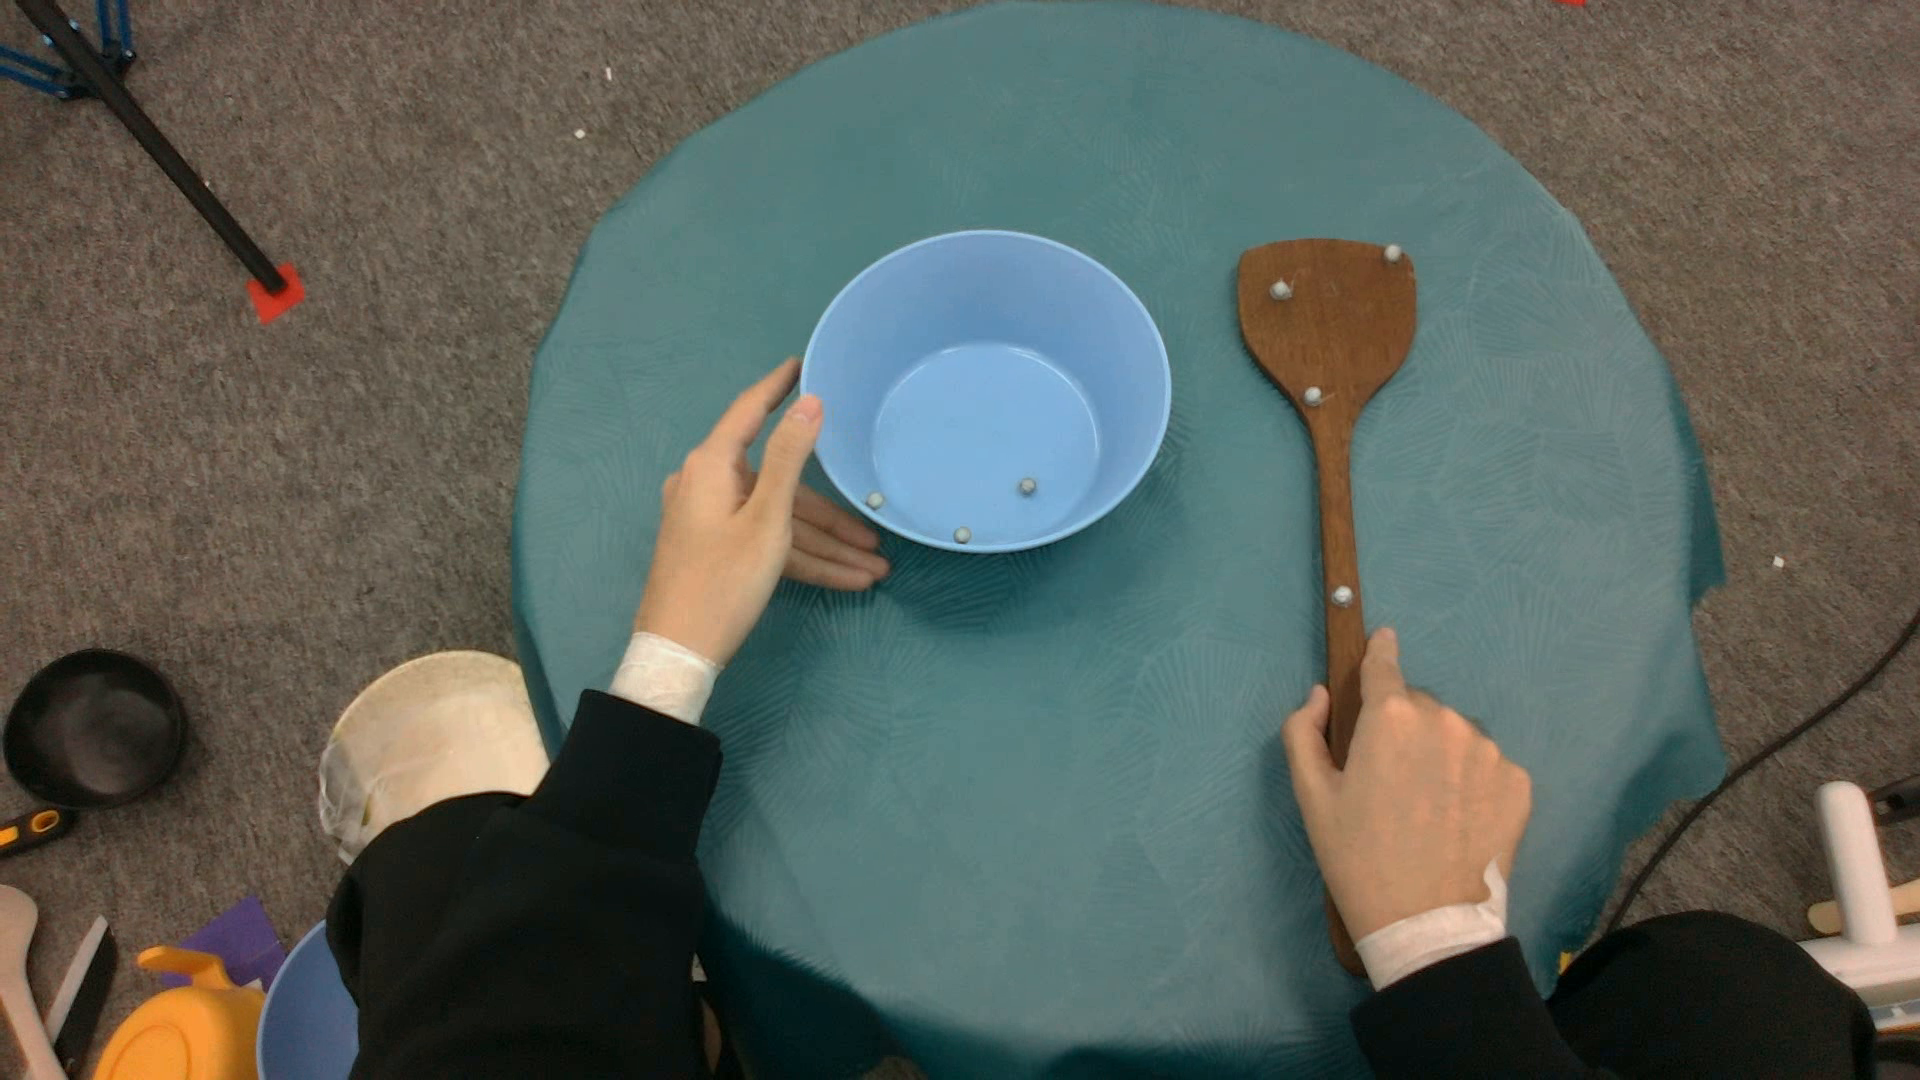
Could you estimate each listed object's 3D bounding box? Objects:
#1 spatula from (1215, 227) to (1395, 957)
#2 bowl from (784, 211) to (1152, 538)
[{"bbox_3d":[0.177,0.004,0.674,0.096,0.016,0.387,2,65,2],"label":"spatula"},{"bbox_3d":[0.004,-0.071,0.682,0.176,0.070,0.176,0,67,1],"label":"bowl"}]
